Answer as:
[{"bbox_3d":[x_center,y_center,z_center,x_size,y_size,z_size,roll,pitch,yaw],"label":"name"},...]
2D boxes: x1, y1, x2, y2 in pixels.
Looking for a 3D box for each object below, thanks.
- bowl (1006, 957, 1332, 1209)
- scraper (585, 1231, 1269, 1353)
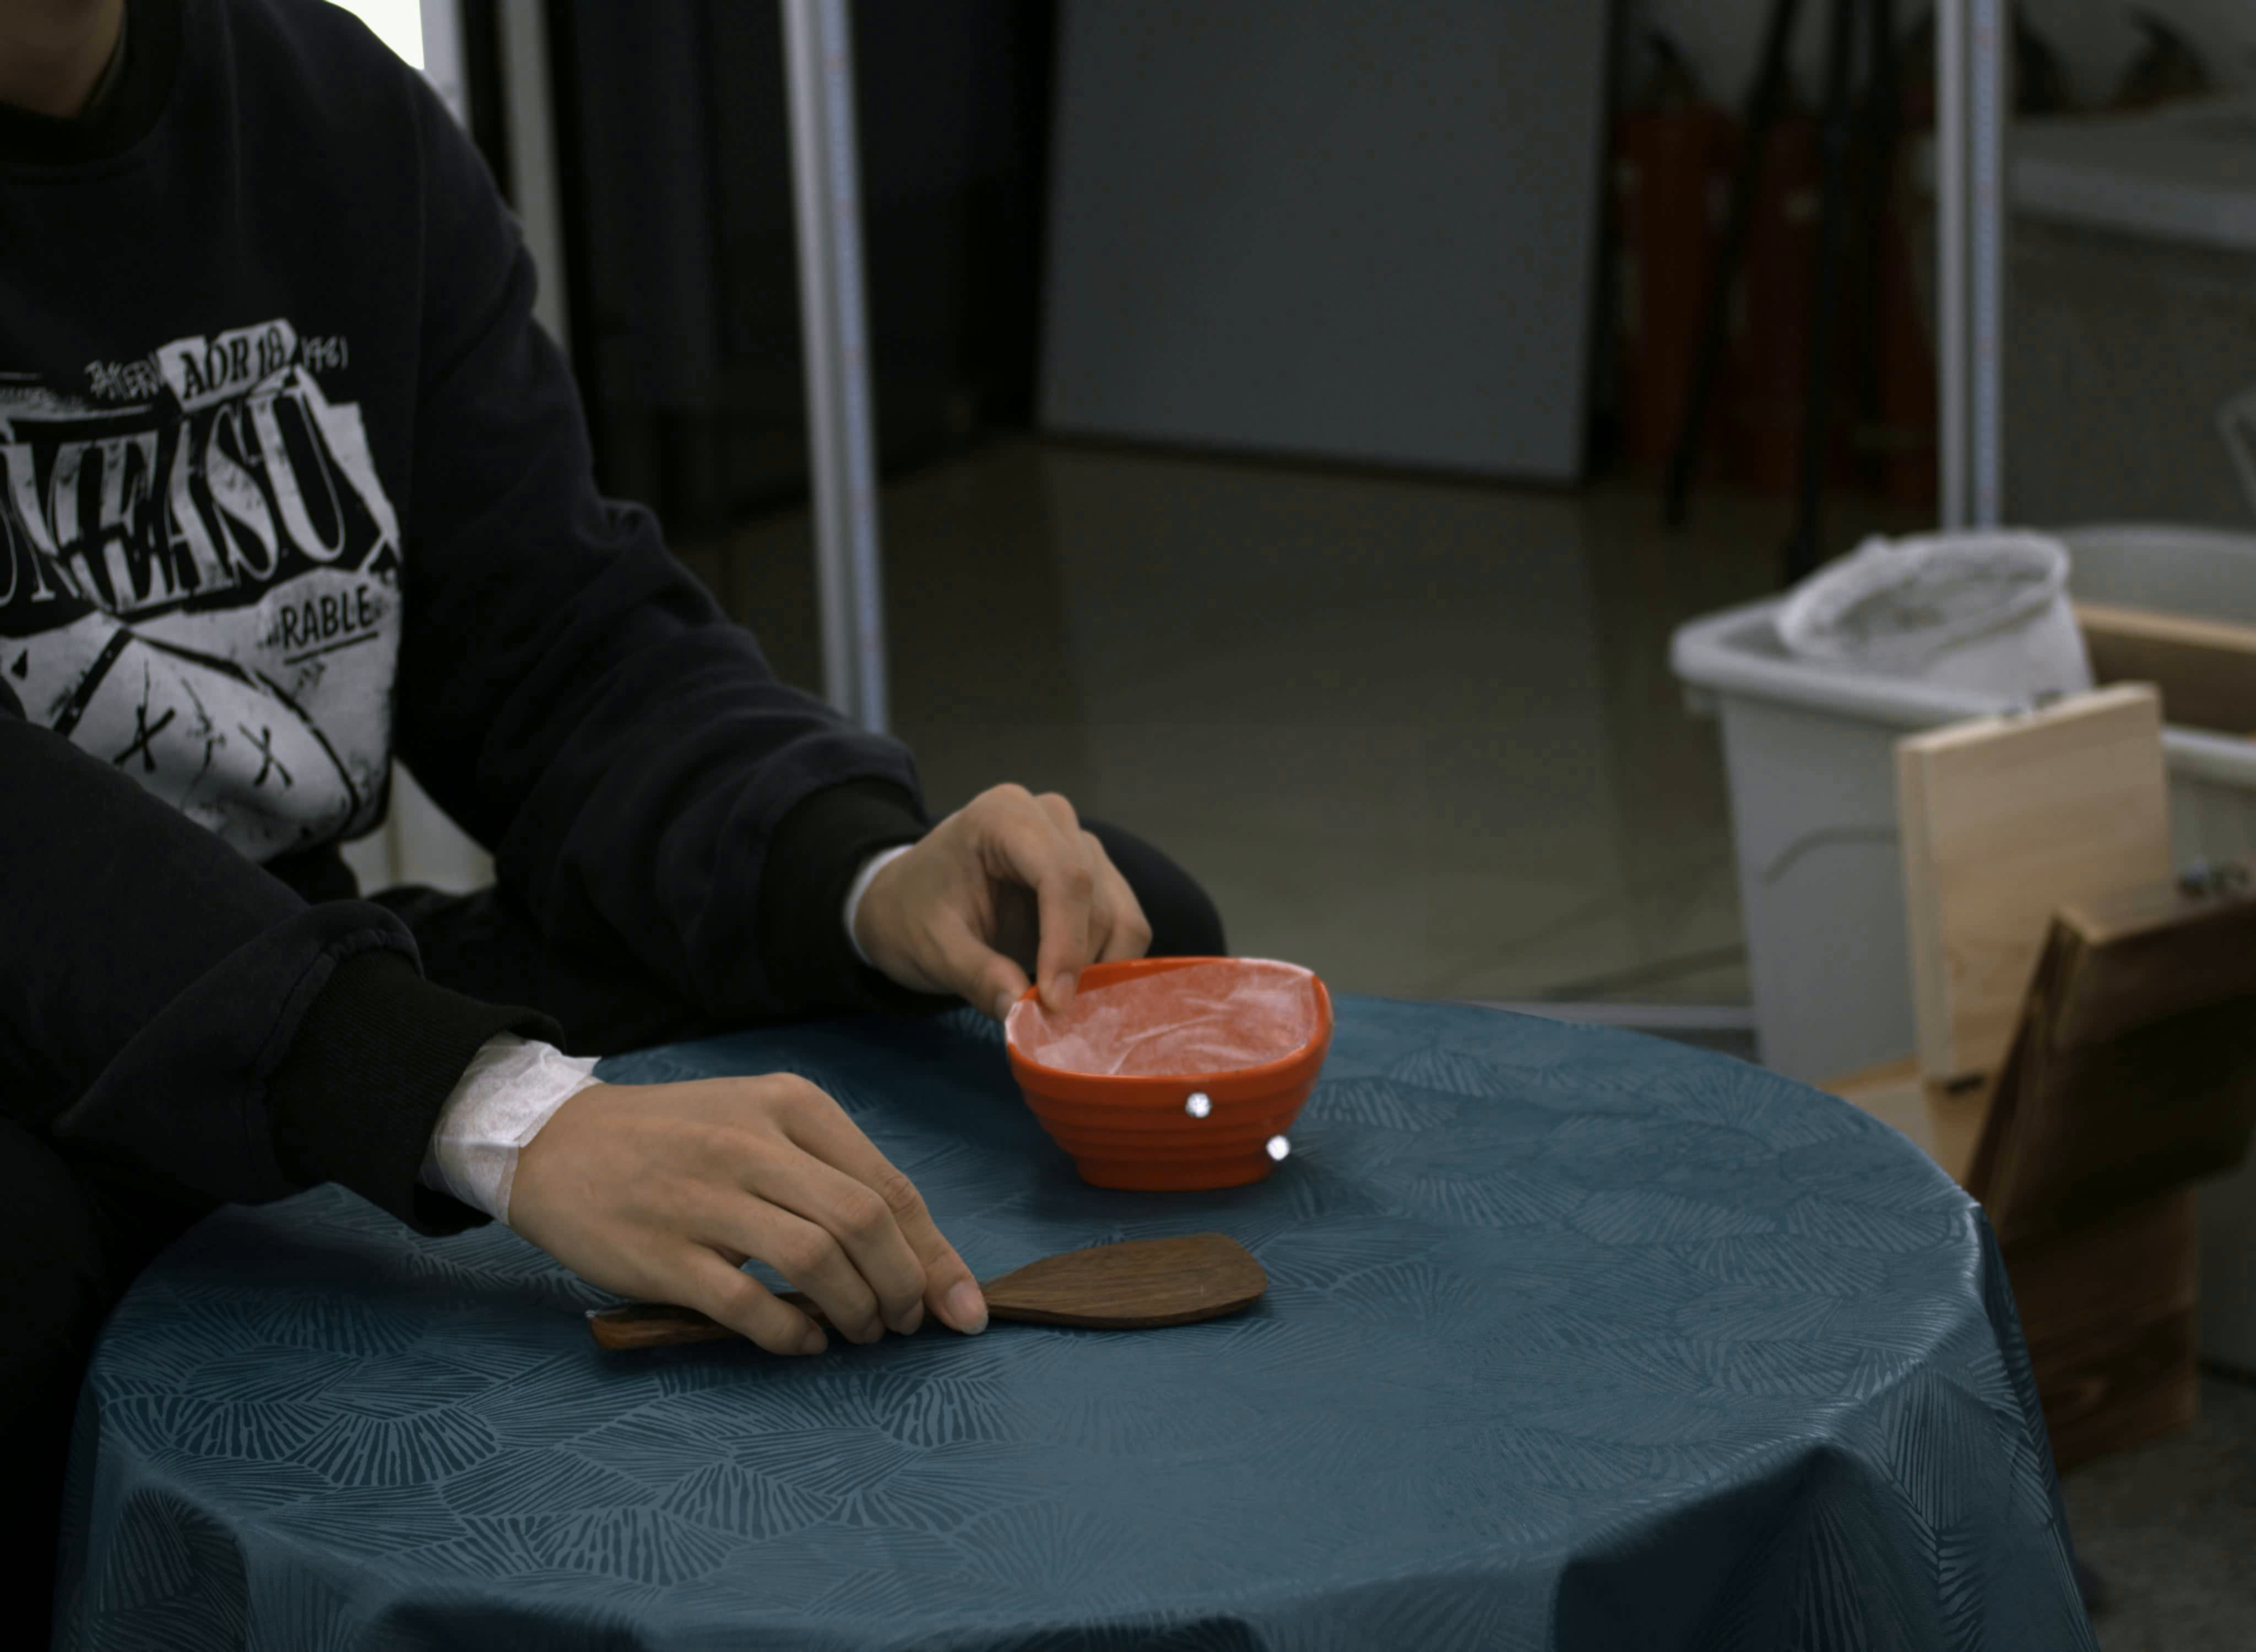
[{"bbox_3d":[0.016,0.089,1.793,0.117,0.052,0.119,-6,22,1],"label":"bowl"},{"bbox_3d":[-0.062,0.147,1.656,0.207,0.011,0.076,-4,13,-12],"label":"scraper"}]
